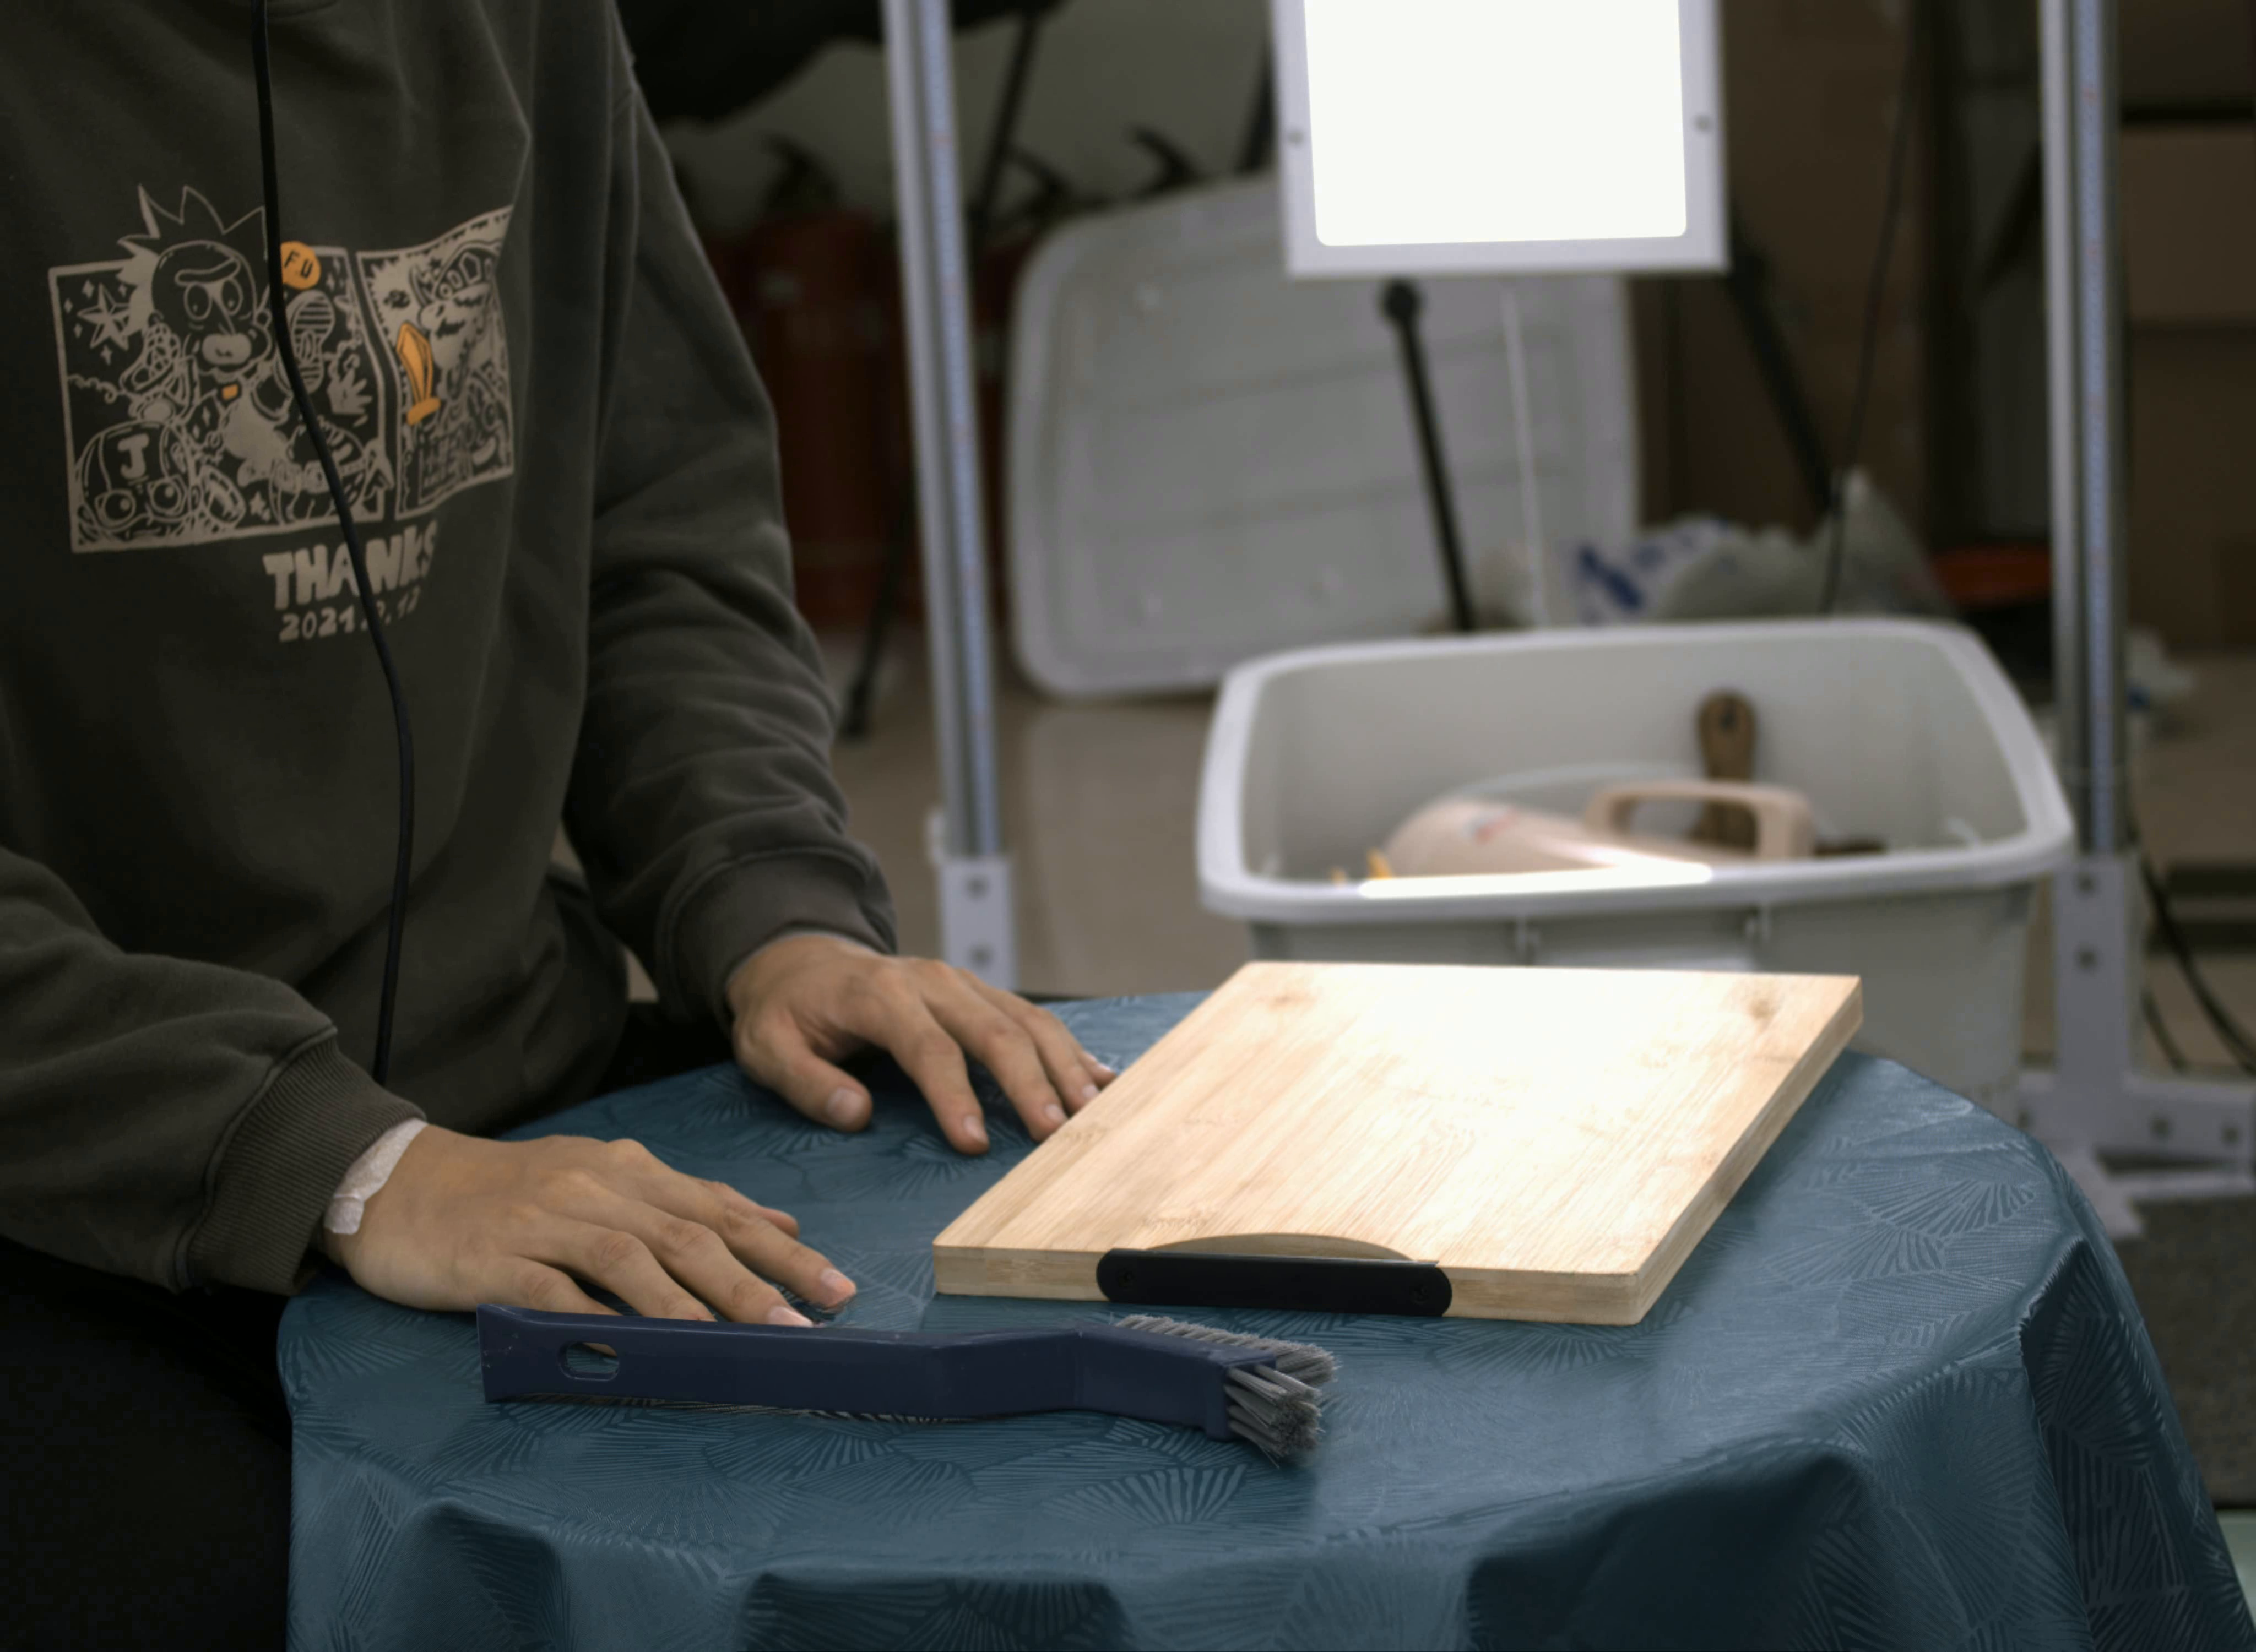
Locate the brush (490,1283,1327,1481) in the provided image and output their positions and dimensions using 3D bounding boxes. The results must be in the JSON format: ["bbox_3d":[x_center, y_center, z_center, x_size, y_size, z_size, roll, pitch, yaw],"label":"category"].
[{"bbox_3d":[-0.075,0.168,1.690,0.275,0.033,0.094,0,15,15],"label":"brush"}]

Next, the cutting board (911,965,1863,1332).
[{"bbox_3d":[0.101,0.107,1.907,0.254,0.023,0.342,-1,14,20],"label":"cutting board"}]
